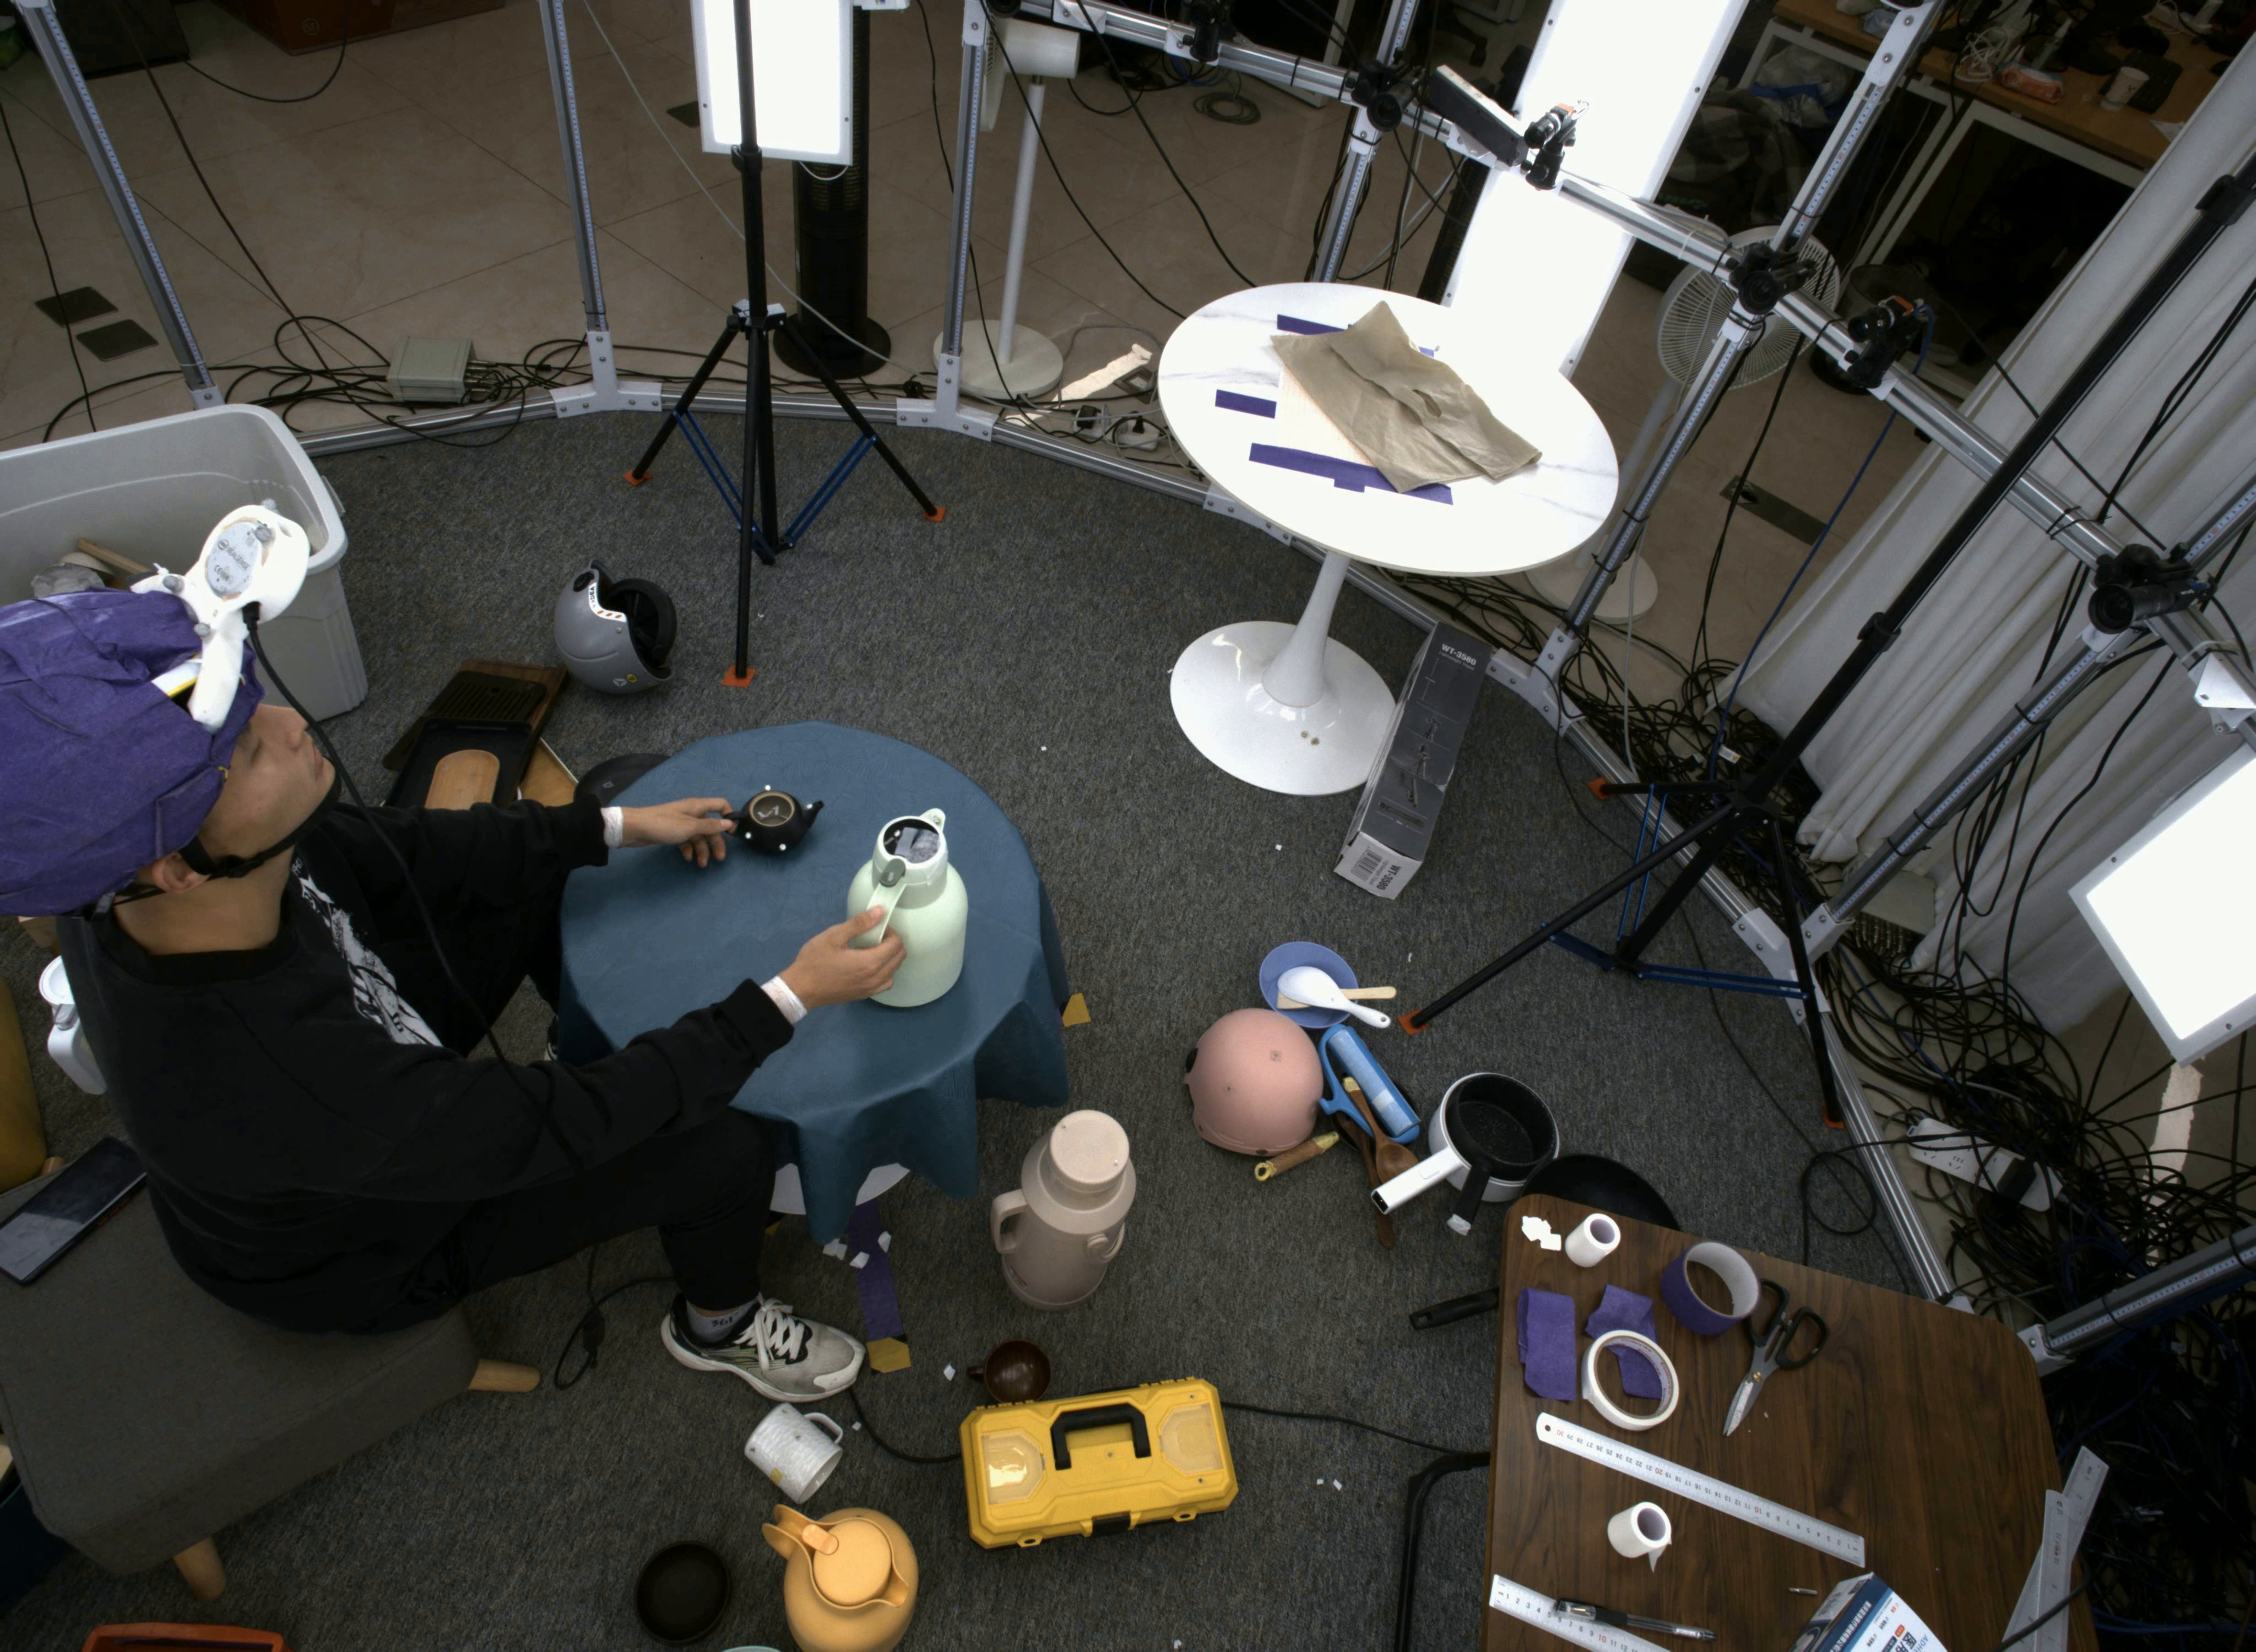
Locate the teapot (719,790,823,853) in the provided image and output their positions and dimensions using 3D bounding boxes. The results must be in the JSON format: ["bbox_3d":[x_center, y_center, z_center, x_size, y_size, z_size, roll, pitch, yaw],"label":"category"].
[{"bbox_3d":[-0.463,-0.008,1.683,0.134,0.054,0.088,-8,54,-20],"label":"teapot"}]

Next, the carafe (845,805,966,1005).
[{"bbox_3d":[-0.266,0.100,1.526,0.143,0.262,0.185,21,54,3],"label":"carafe"}]
